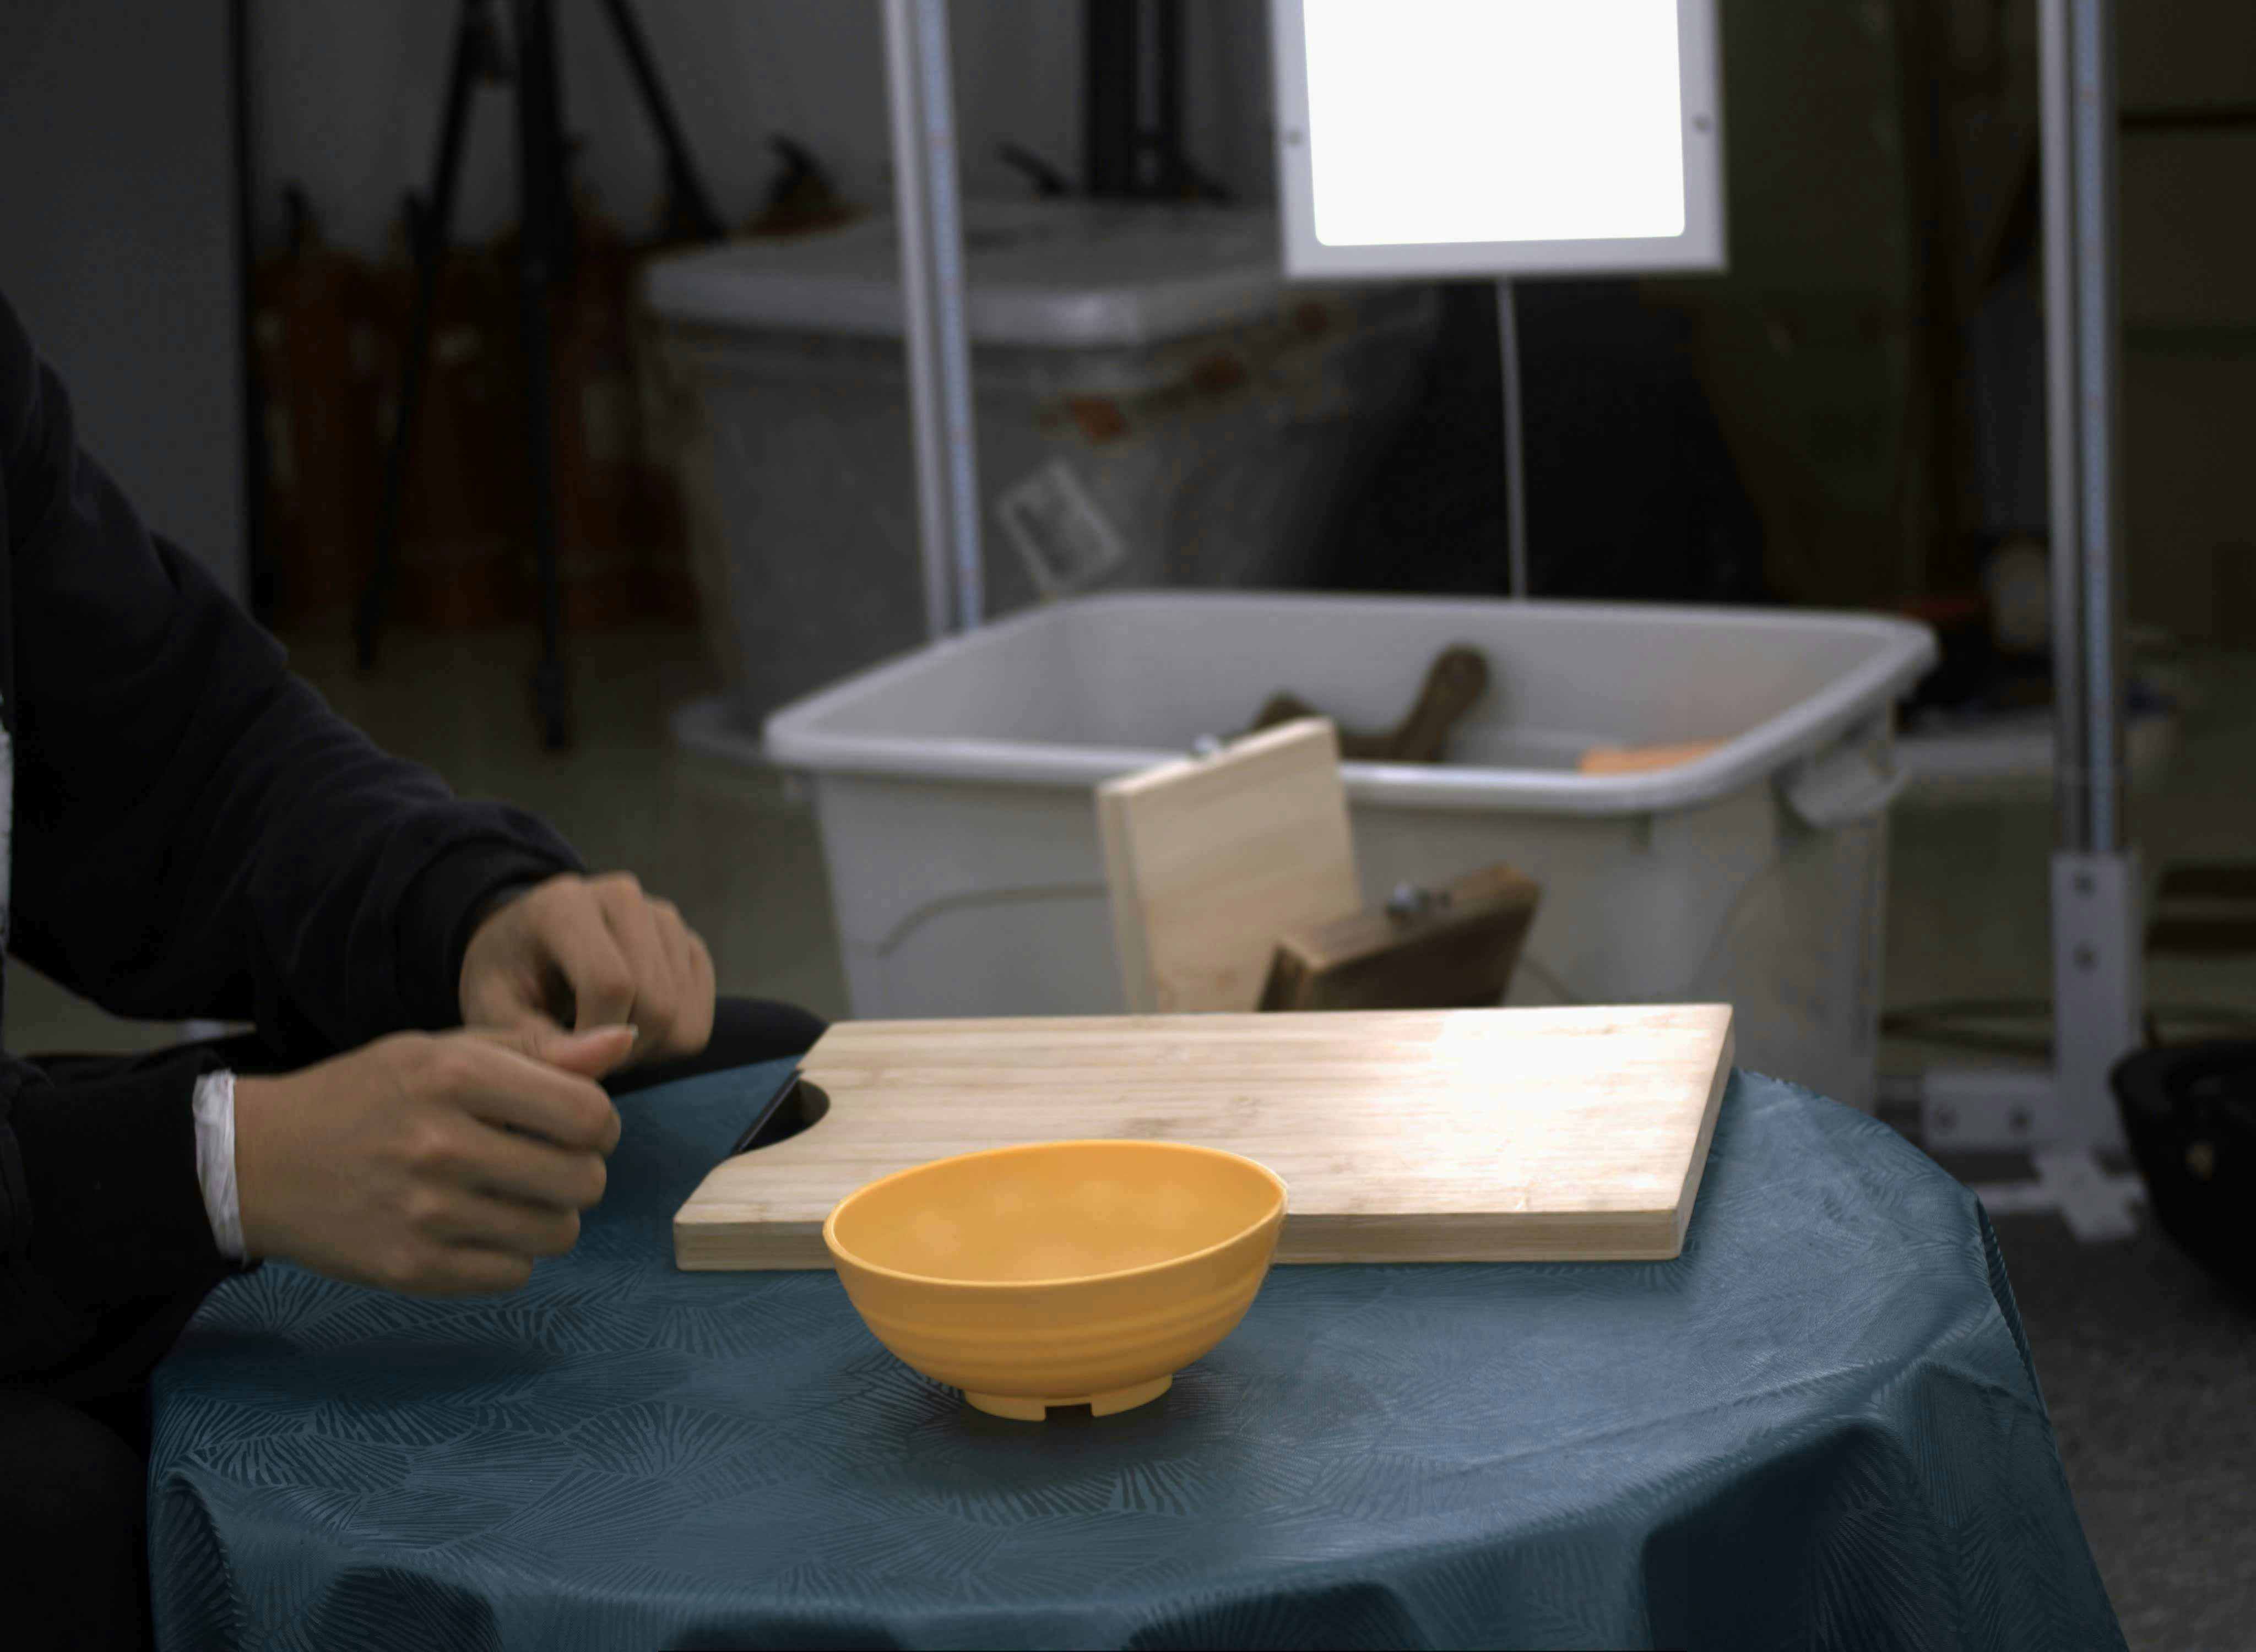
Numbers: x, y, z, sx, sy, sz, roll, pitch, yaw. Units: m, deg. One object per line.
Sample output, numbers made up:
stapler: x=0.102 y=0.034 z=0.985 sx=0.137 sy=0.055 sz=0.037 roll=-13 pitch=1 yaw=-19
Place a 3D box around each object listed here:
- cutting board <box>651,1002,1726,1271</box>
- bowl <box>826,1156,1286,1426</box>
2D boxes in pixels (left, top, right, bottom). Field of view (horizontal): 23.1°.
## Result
cutting board: x=0.029 y=0.108 z=1.930 sx=0.351 sy=0.023 sz=0.248 roll=-2 pitch=14 yaw=12
bowl: x=-0.019 y=0.147 z=1.703 sx=0.145 sy=0.060 sz=0.145 roll=-6 pitch=11 yaw=0
